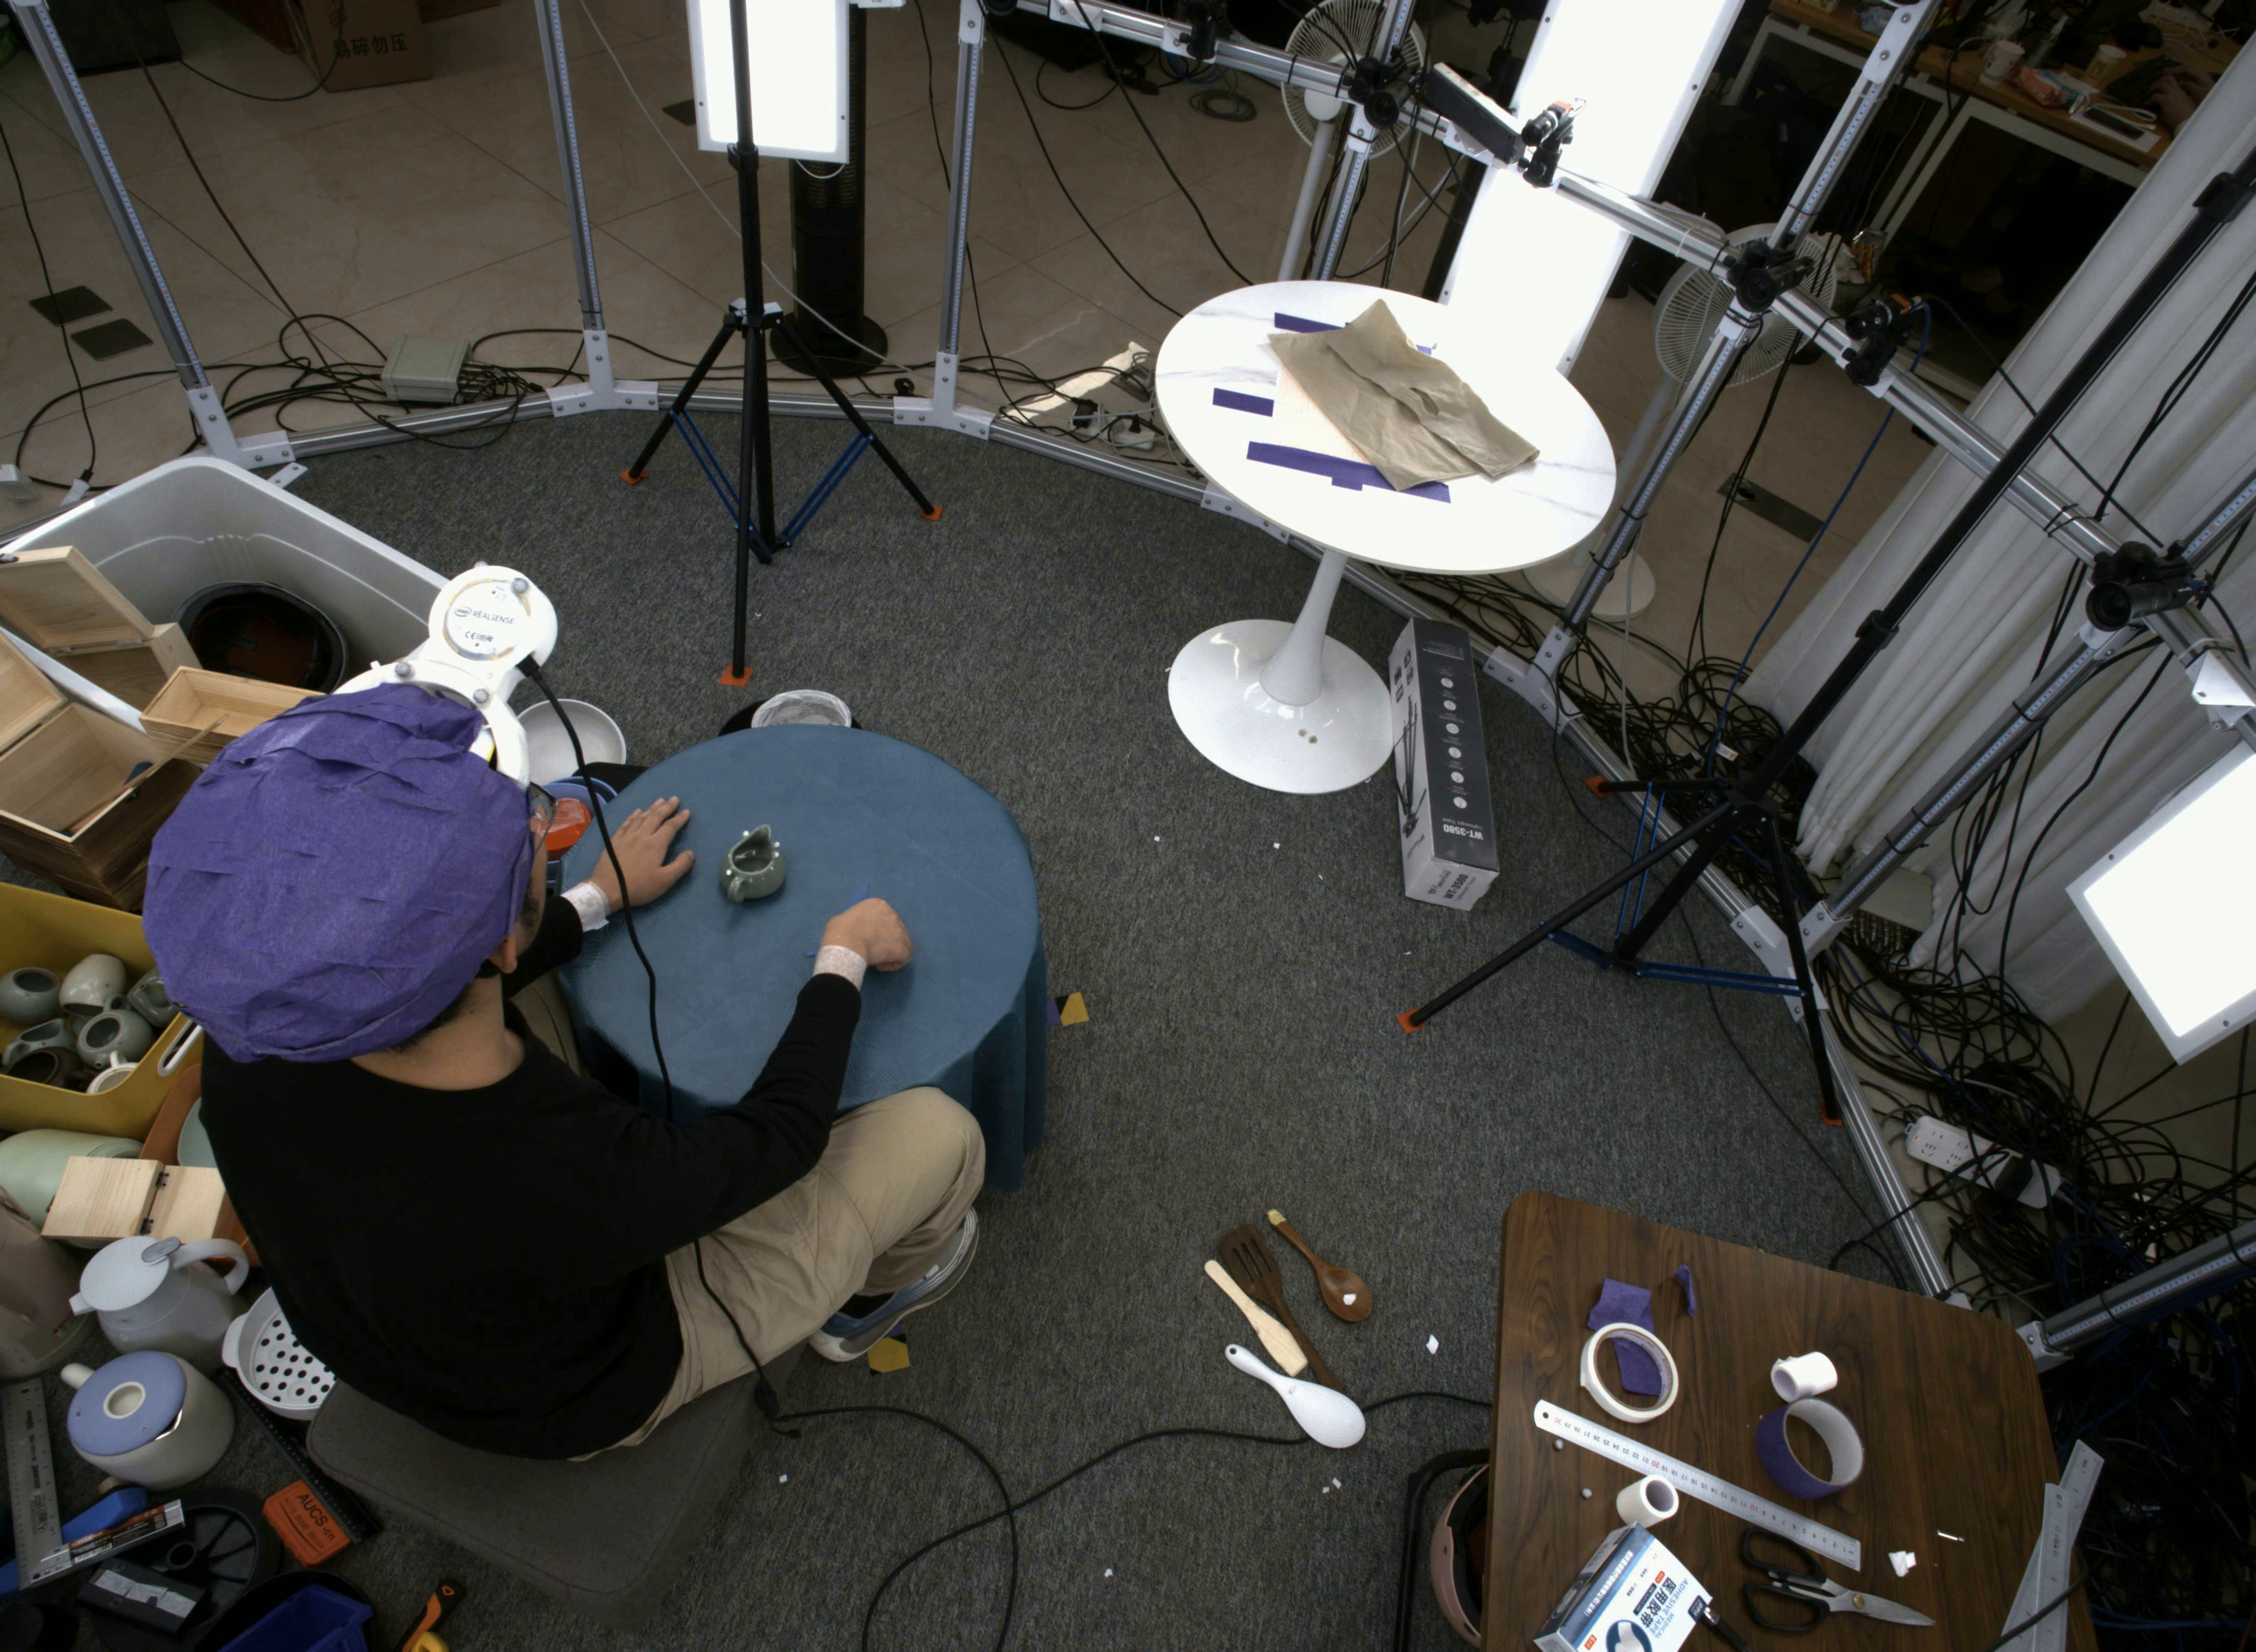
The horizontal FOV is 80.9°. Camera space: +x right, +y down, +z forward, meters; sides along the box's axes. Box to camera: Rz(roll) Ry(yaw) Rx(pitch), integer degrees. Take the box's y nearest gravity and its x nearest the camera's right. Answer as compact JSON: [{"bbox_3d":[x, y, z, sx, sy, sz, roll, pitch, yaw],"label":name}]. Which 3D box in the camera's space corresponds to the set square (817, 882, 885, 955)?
[{"bbox_3d":[-0.333,0.122,1.649,0.060,0.007,0.131,29,51,10],"label":"set square"}]

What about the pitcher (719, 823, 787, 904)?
[{"bbox_3d":[-0.476,0.054,1.629,0.083,0.057,0.111,14,51,0],"label":"pitcher"}]
